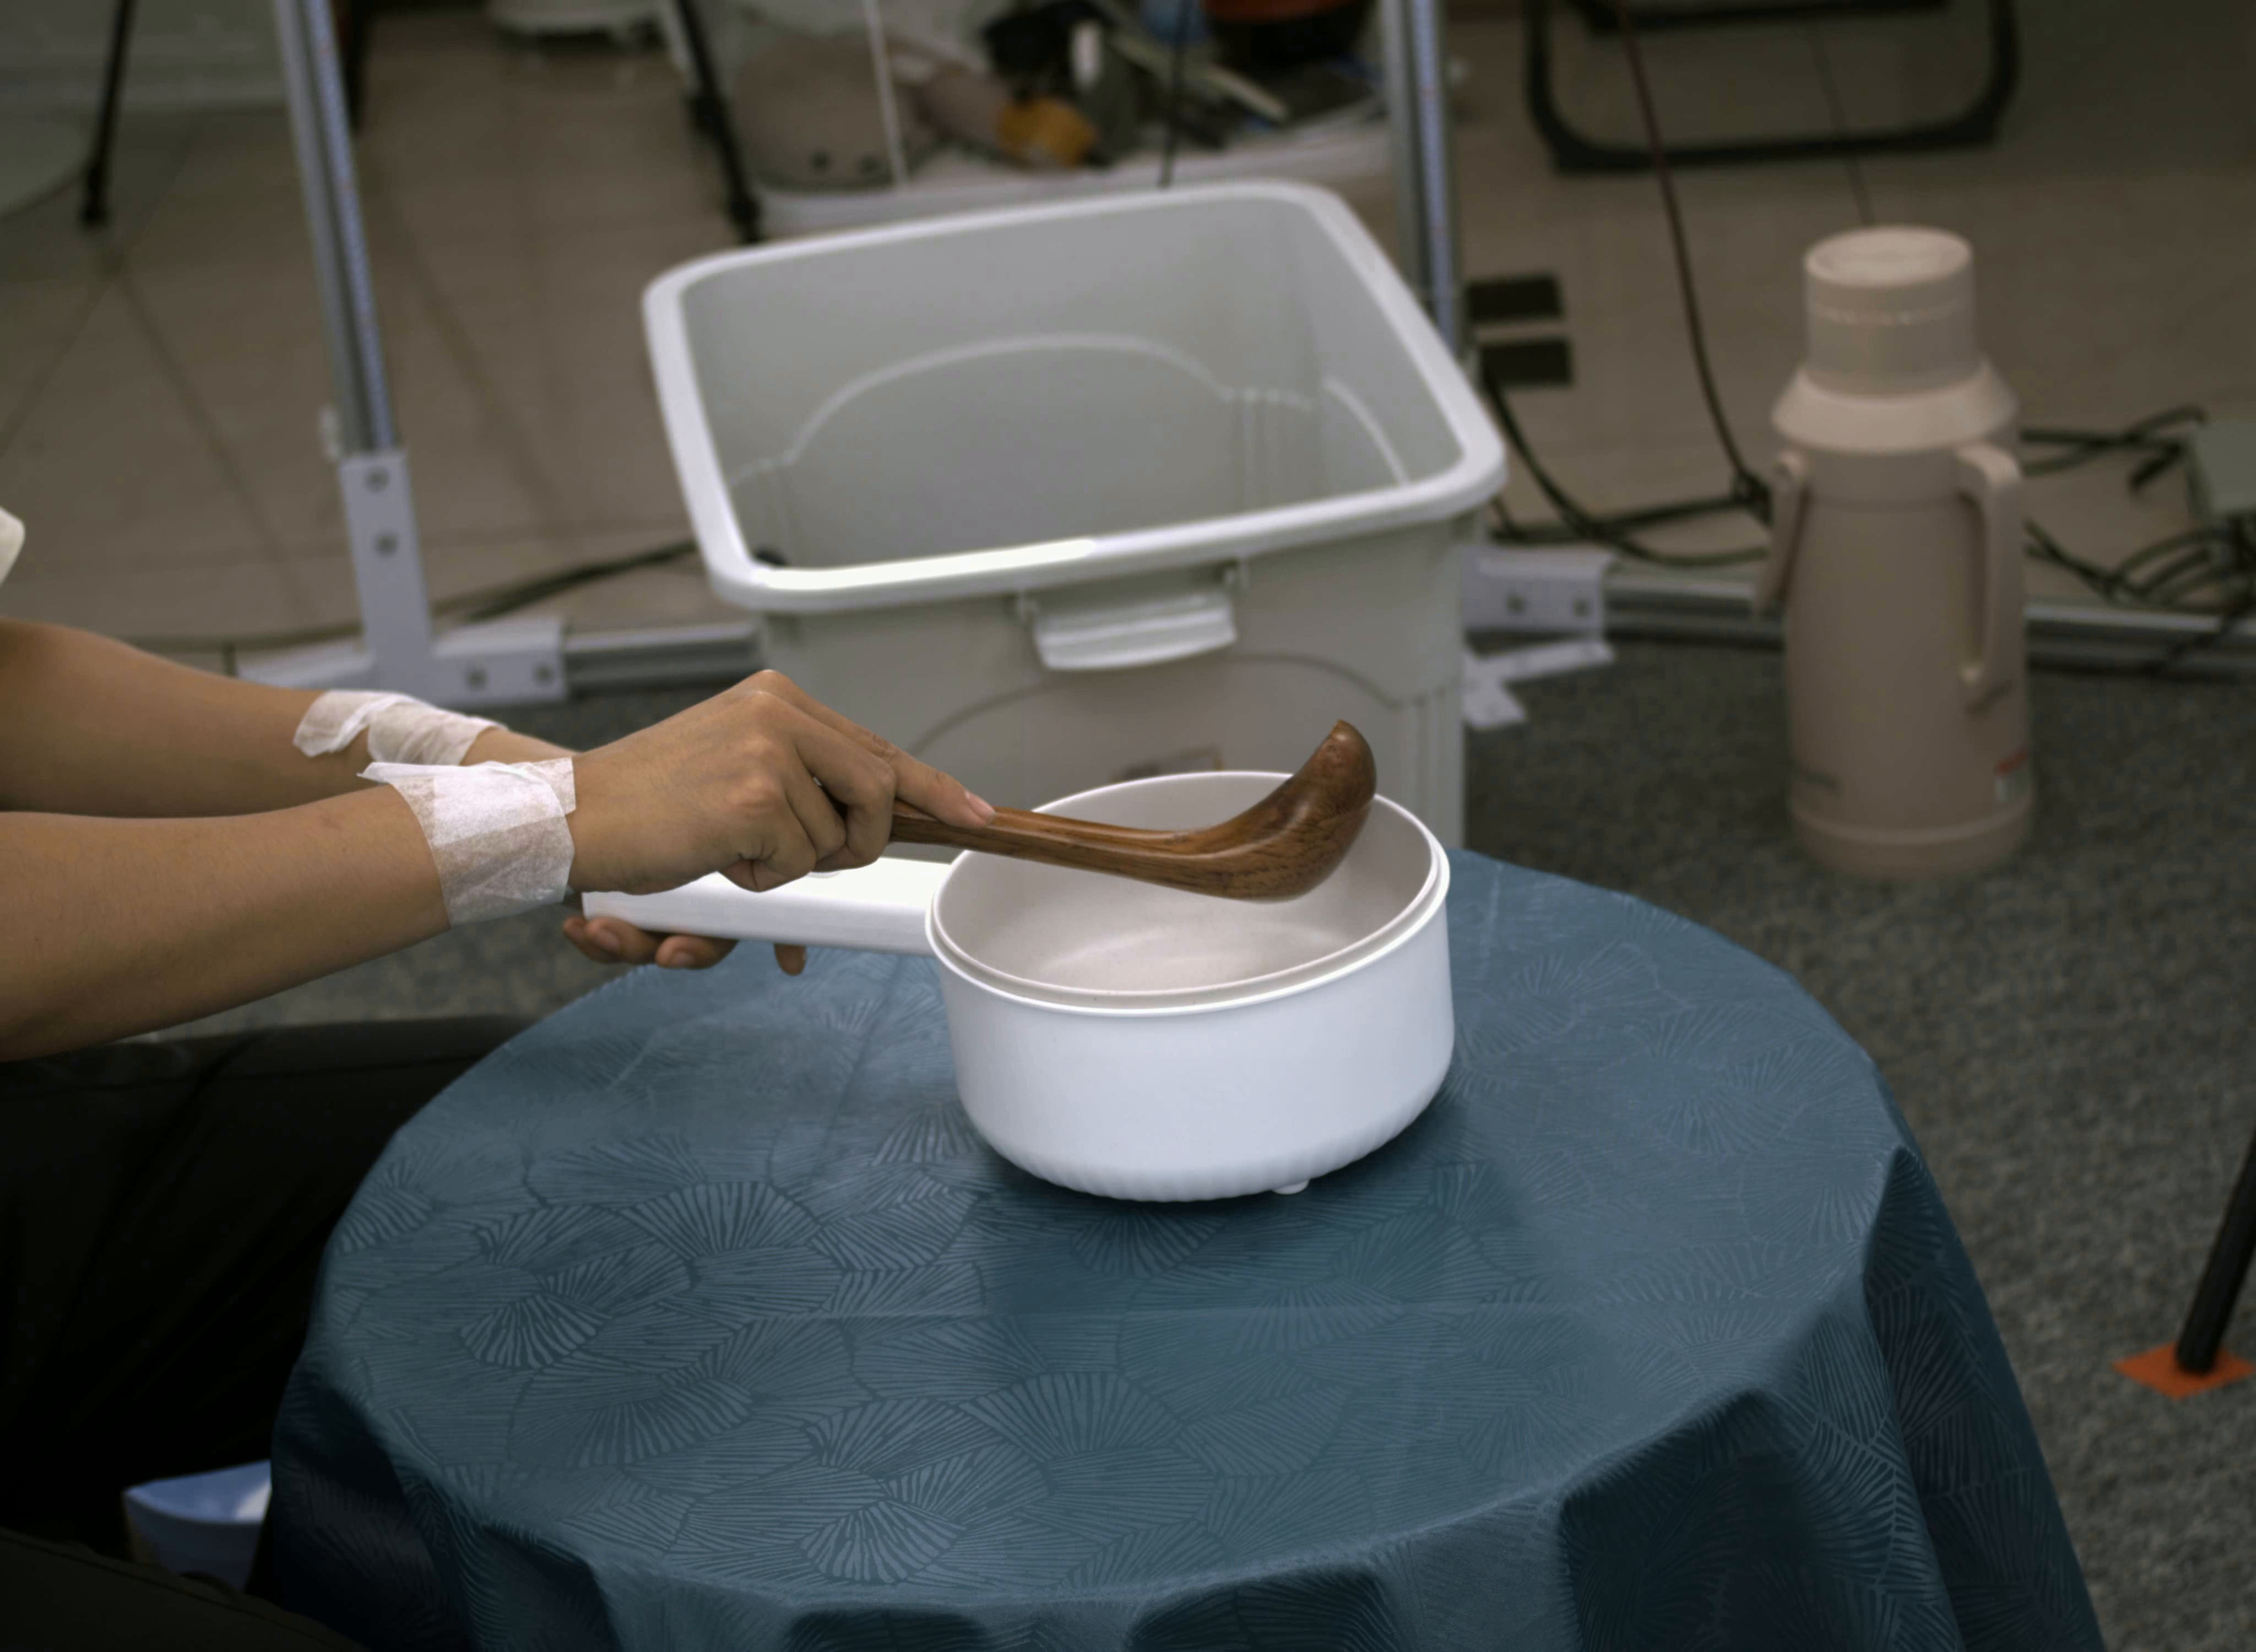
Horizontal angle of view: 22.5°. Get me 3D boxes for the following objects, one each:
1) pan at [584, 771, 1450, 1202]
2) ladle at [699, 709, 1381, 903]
[{"bbox_3d":[-0.045,0.060,2.212,0.354,0.104,0.198,4,28,23],"label":"pan"},{"bbox_3d":[-0.031,-0.015,2.127,0.274,0.083,0.075,5,42,-19],"label":"ladle"}]
